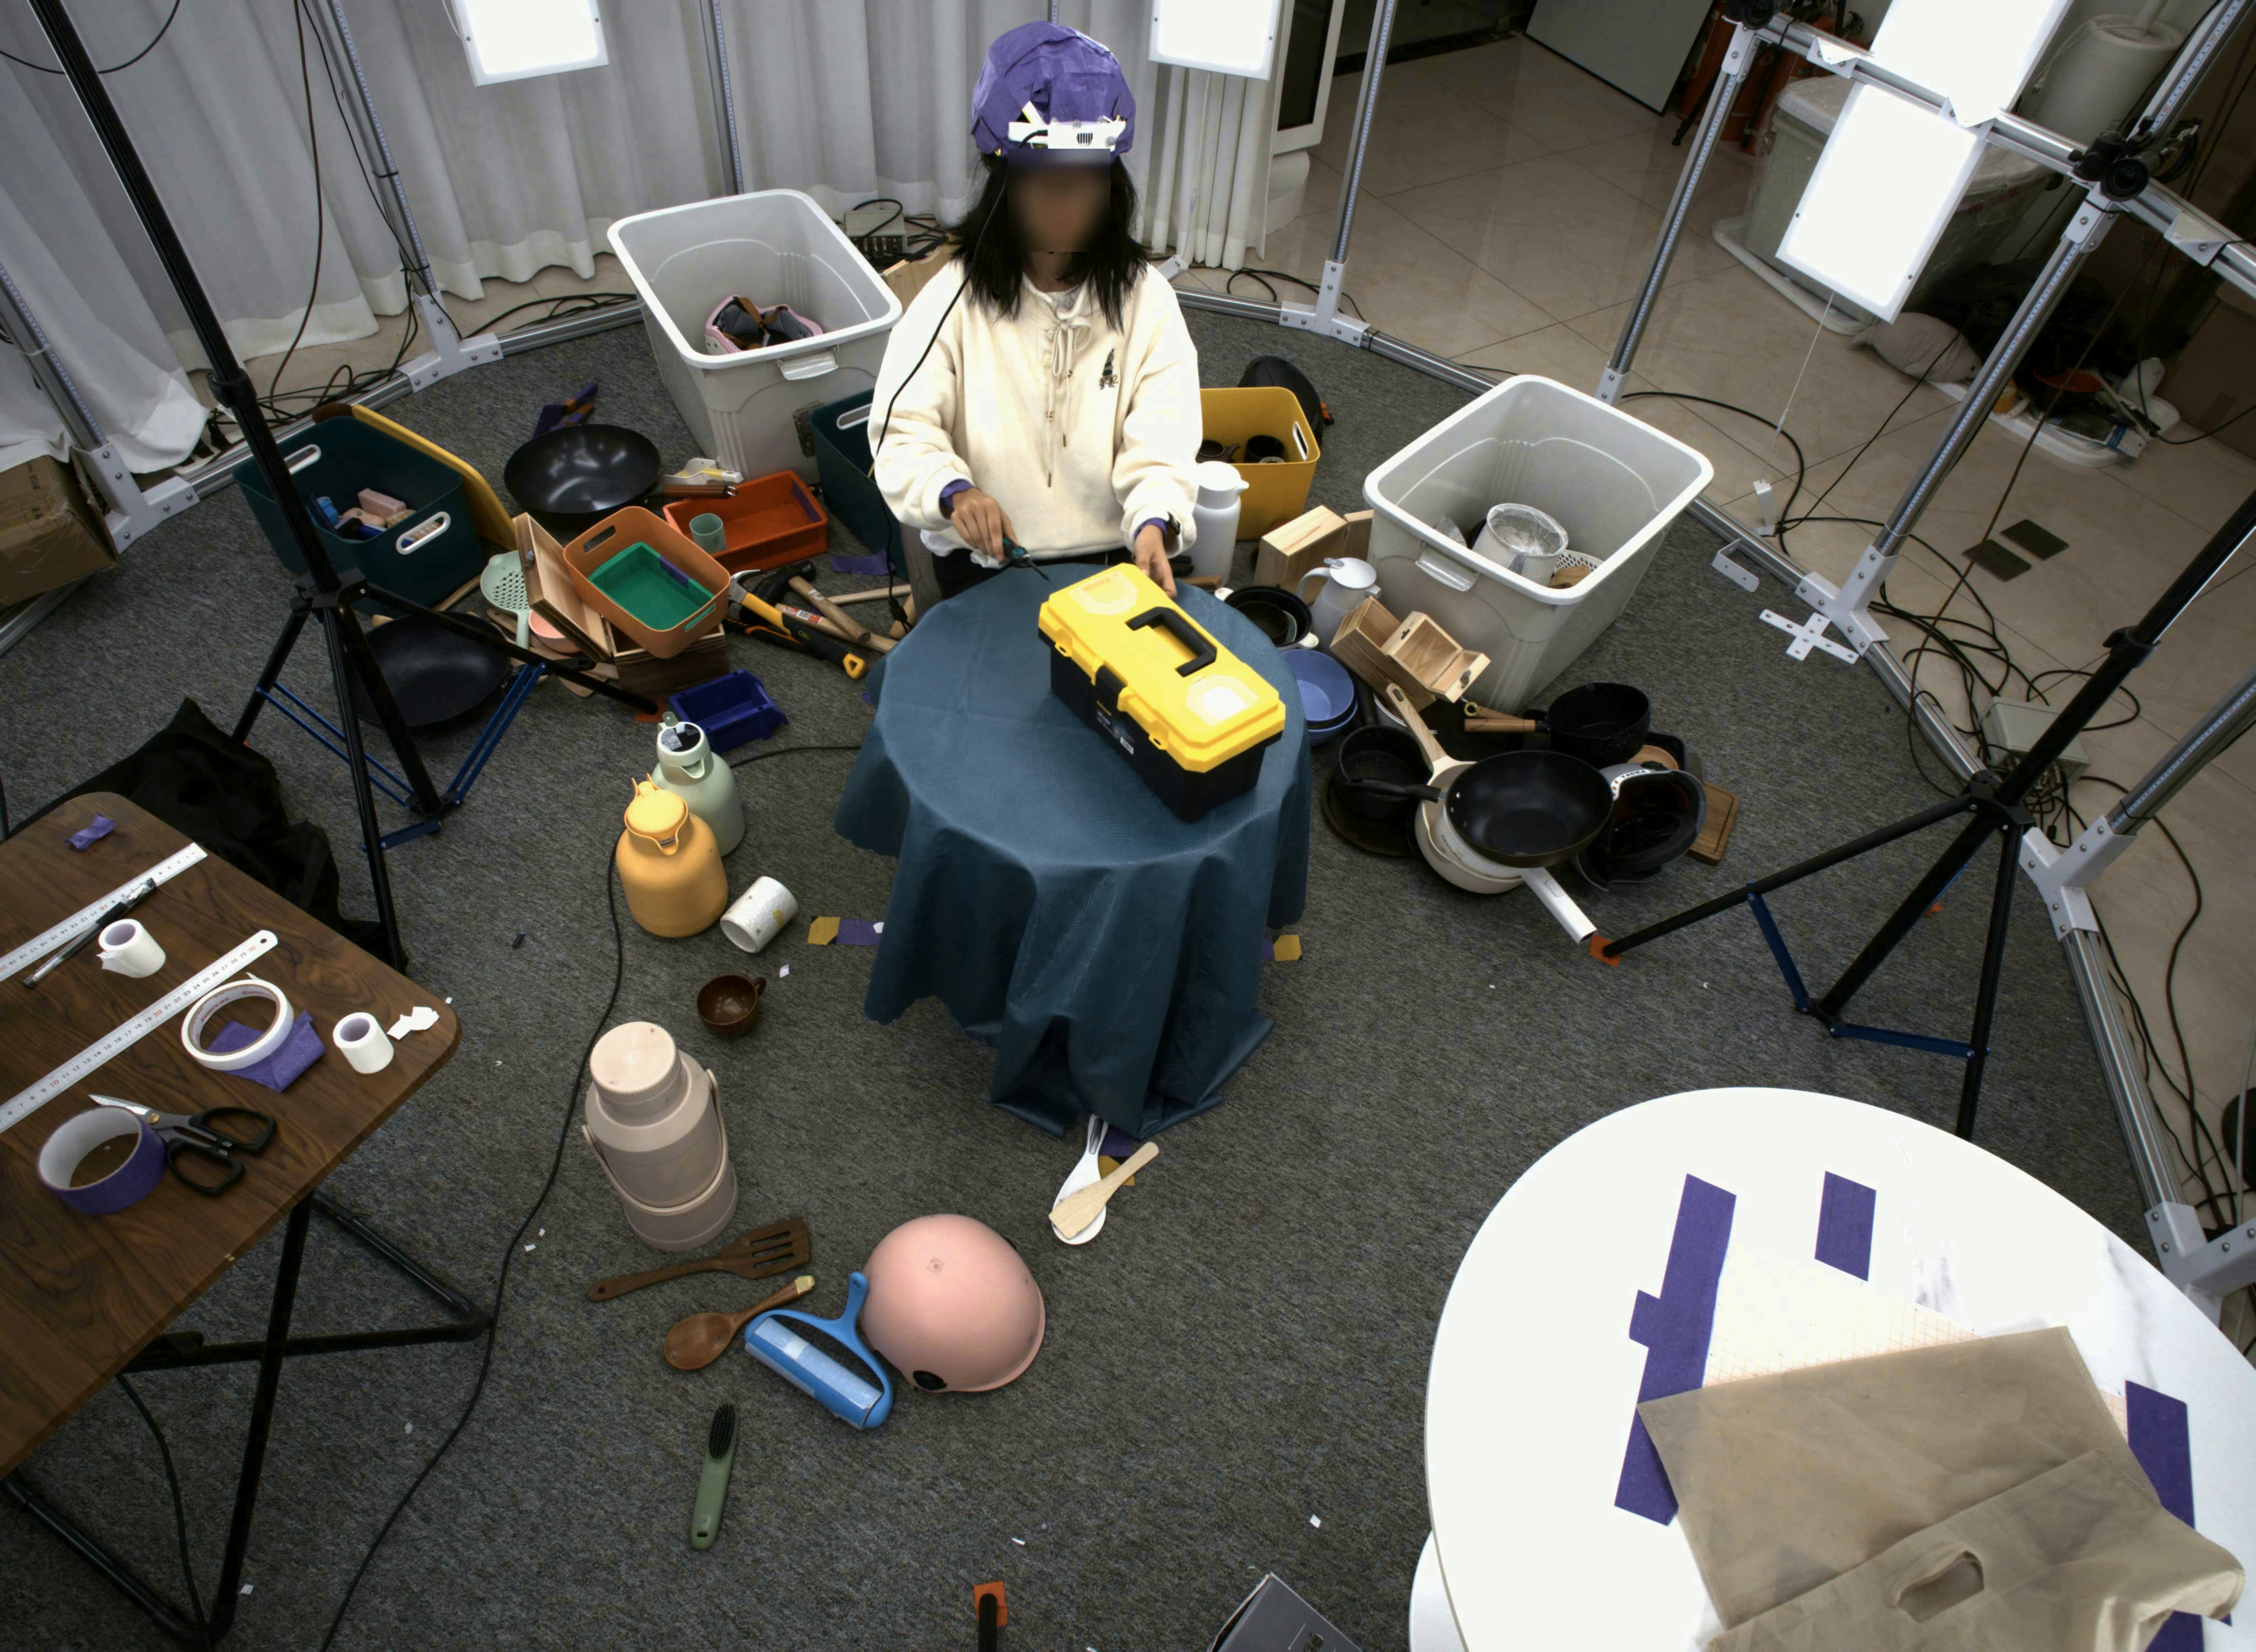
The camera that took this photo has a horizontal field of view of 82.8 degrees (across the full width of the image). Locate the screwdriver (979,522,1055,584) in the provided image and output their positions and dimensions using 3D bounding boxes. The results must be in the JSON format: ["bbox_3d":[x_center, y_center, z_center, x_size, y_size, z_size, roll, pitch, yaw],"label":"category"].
[{"bbox_3d":[-0.153,-0.378,1.798,0.034,0.033,0.194,-25,45,-24],"label":"screwdriver"}]

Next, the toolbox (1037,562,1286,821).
[{"bbox_3d":[0.037,-0.180,1.717,0.182,0.168,0.358,-27,56,-25],"label":"toolbox"}]
